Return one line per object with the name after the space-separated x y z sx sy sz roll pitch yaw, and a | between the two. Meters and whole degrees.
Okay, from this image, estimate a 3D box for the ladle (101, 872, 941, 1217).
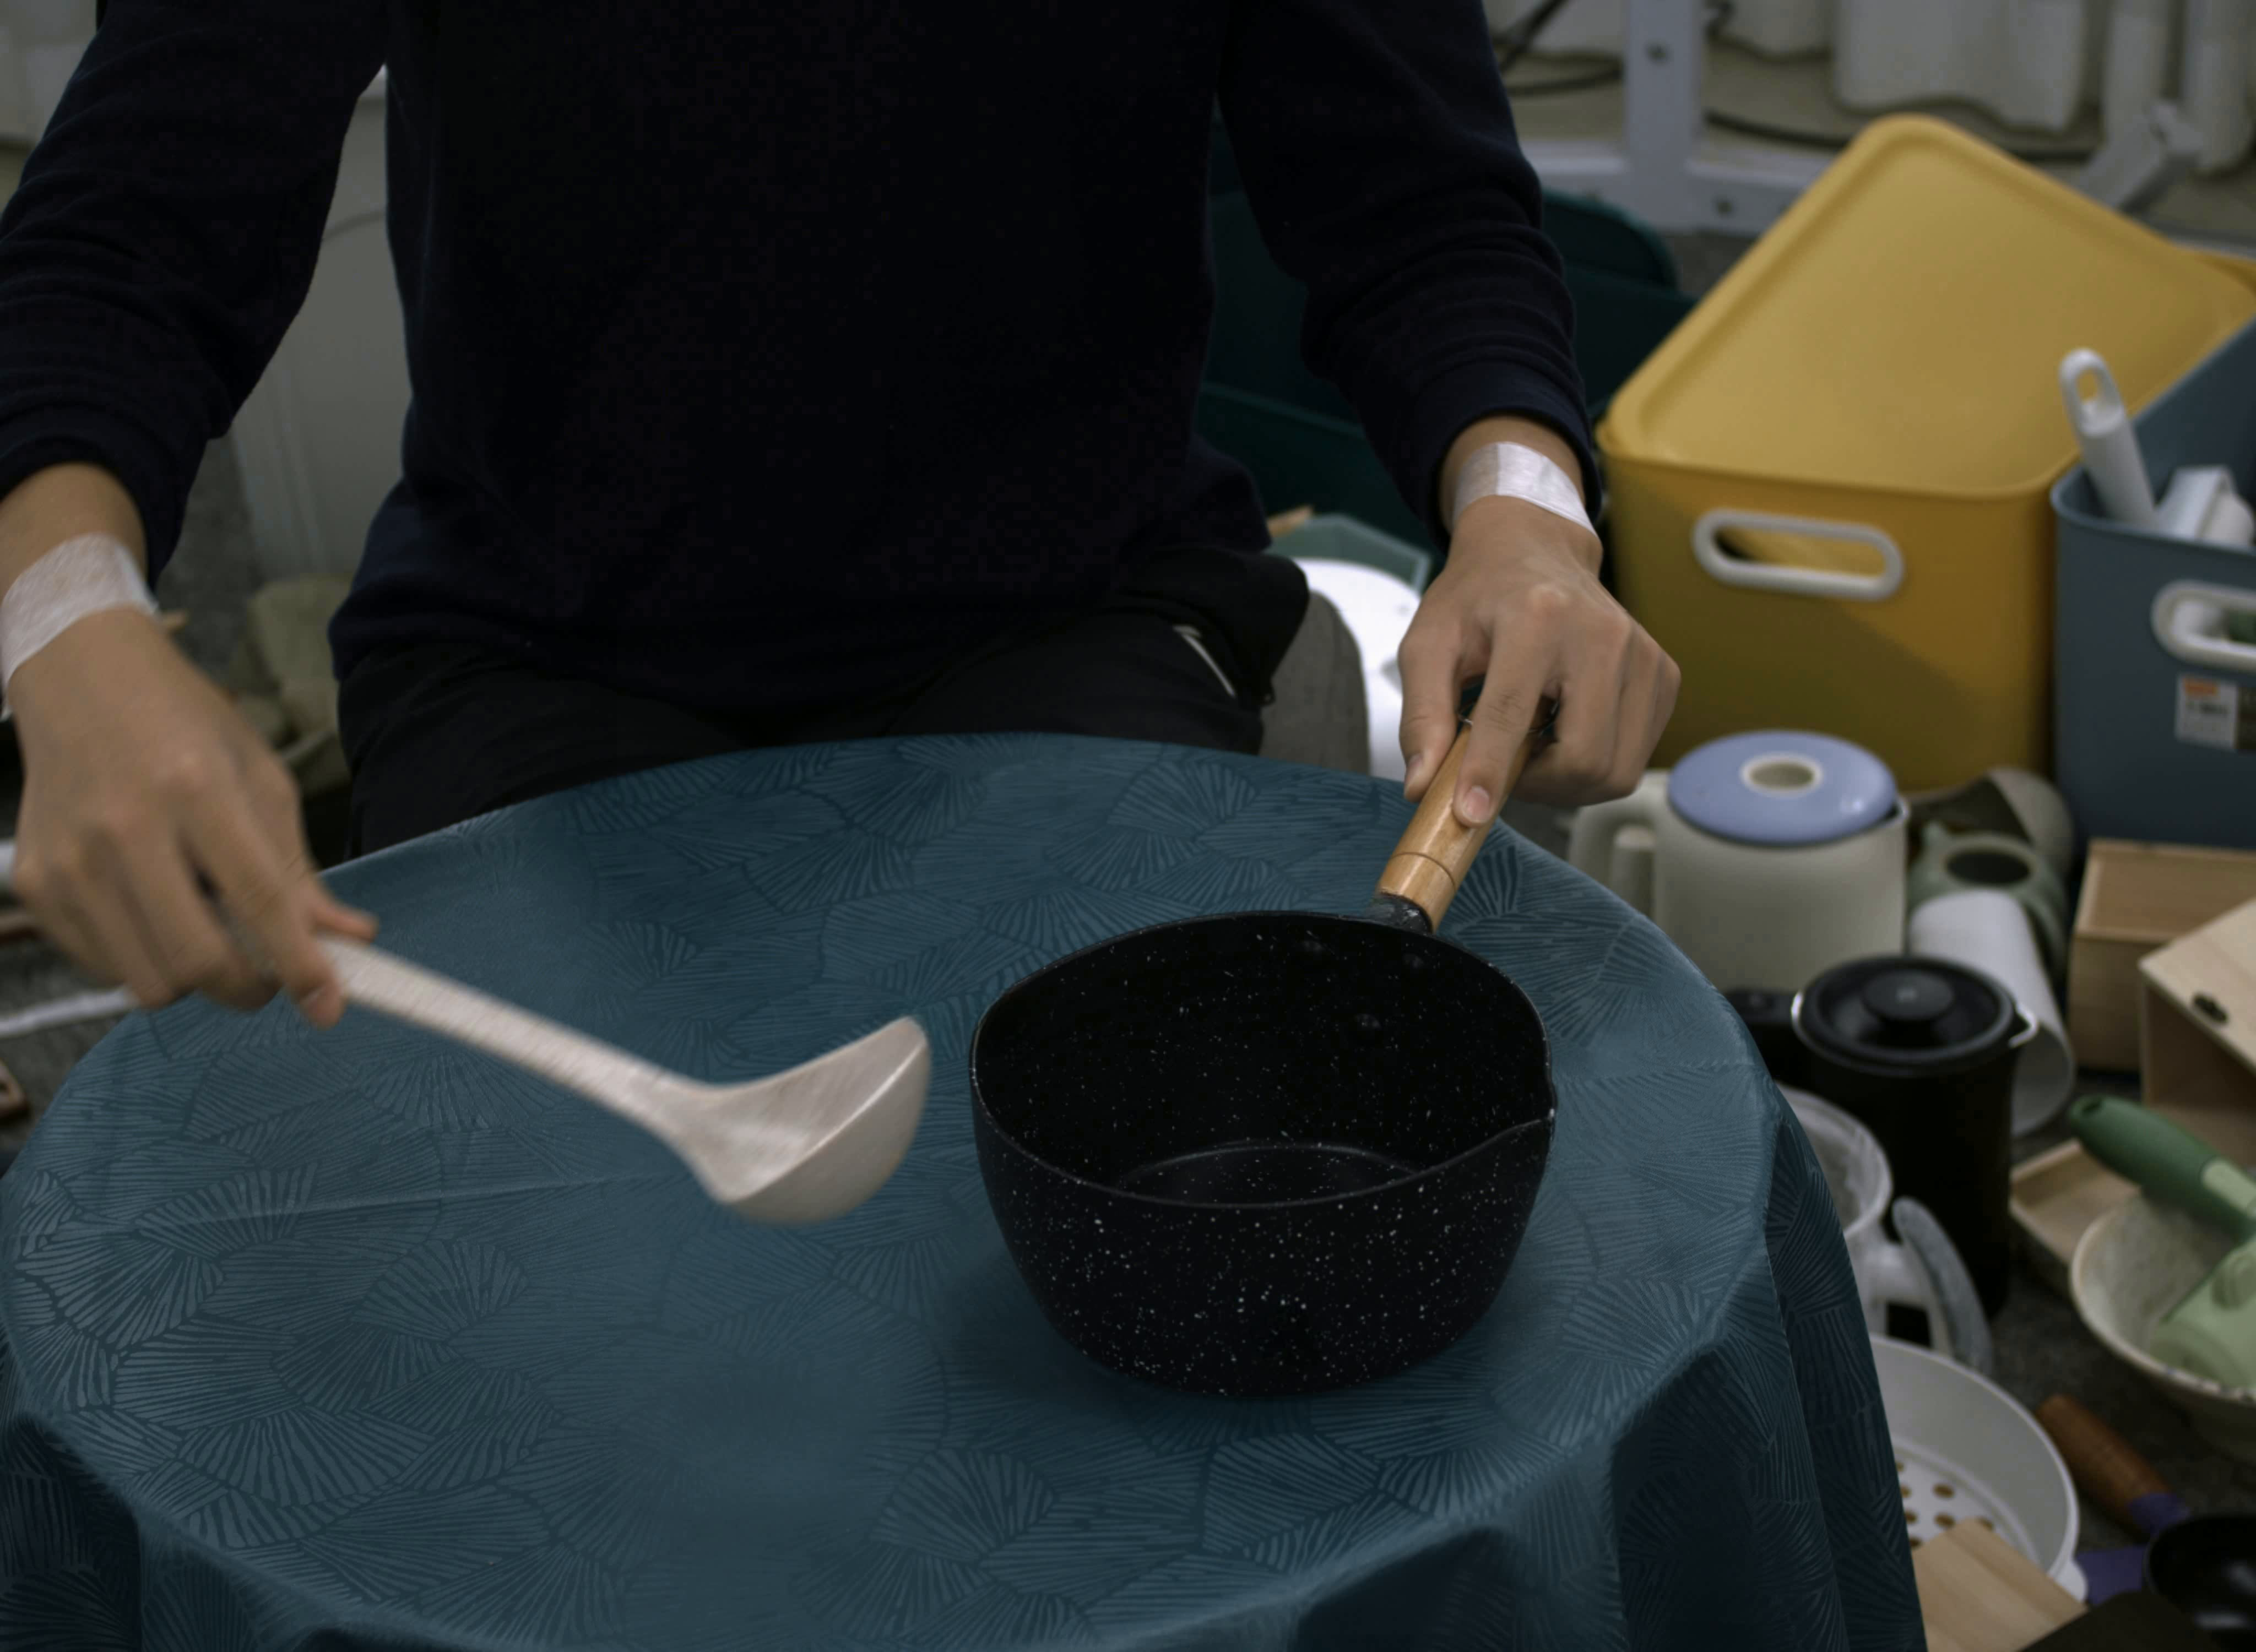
-0.187 0.044 1.699 0.274 0.068 0.091 21 40 11 | ladle

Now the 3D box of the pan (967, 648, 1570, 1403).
0.073 0.062 1.855 0.206 0.107 0.349 8 30 22 | pan
